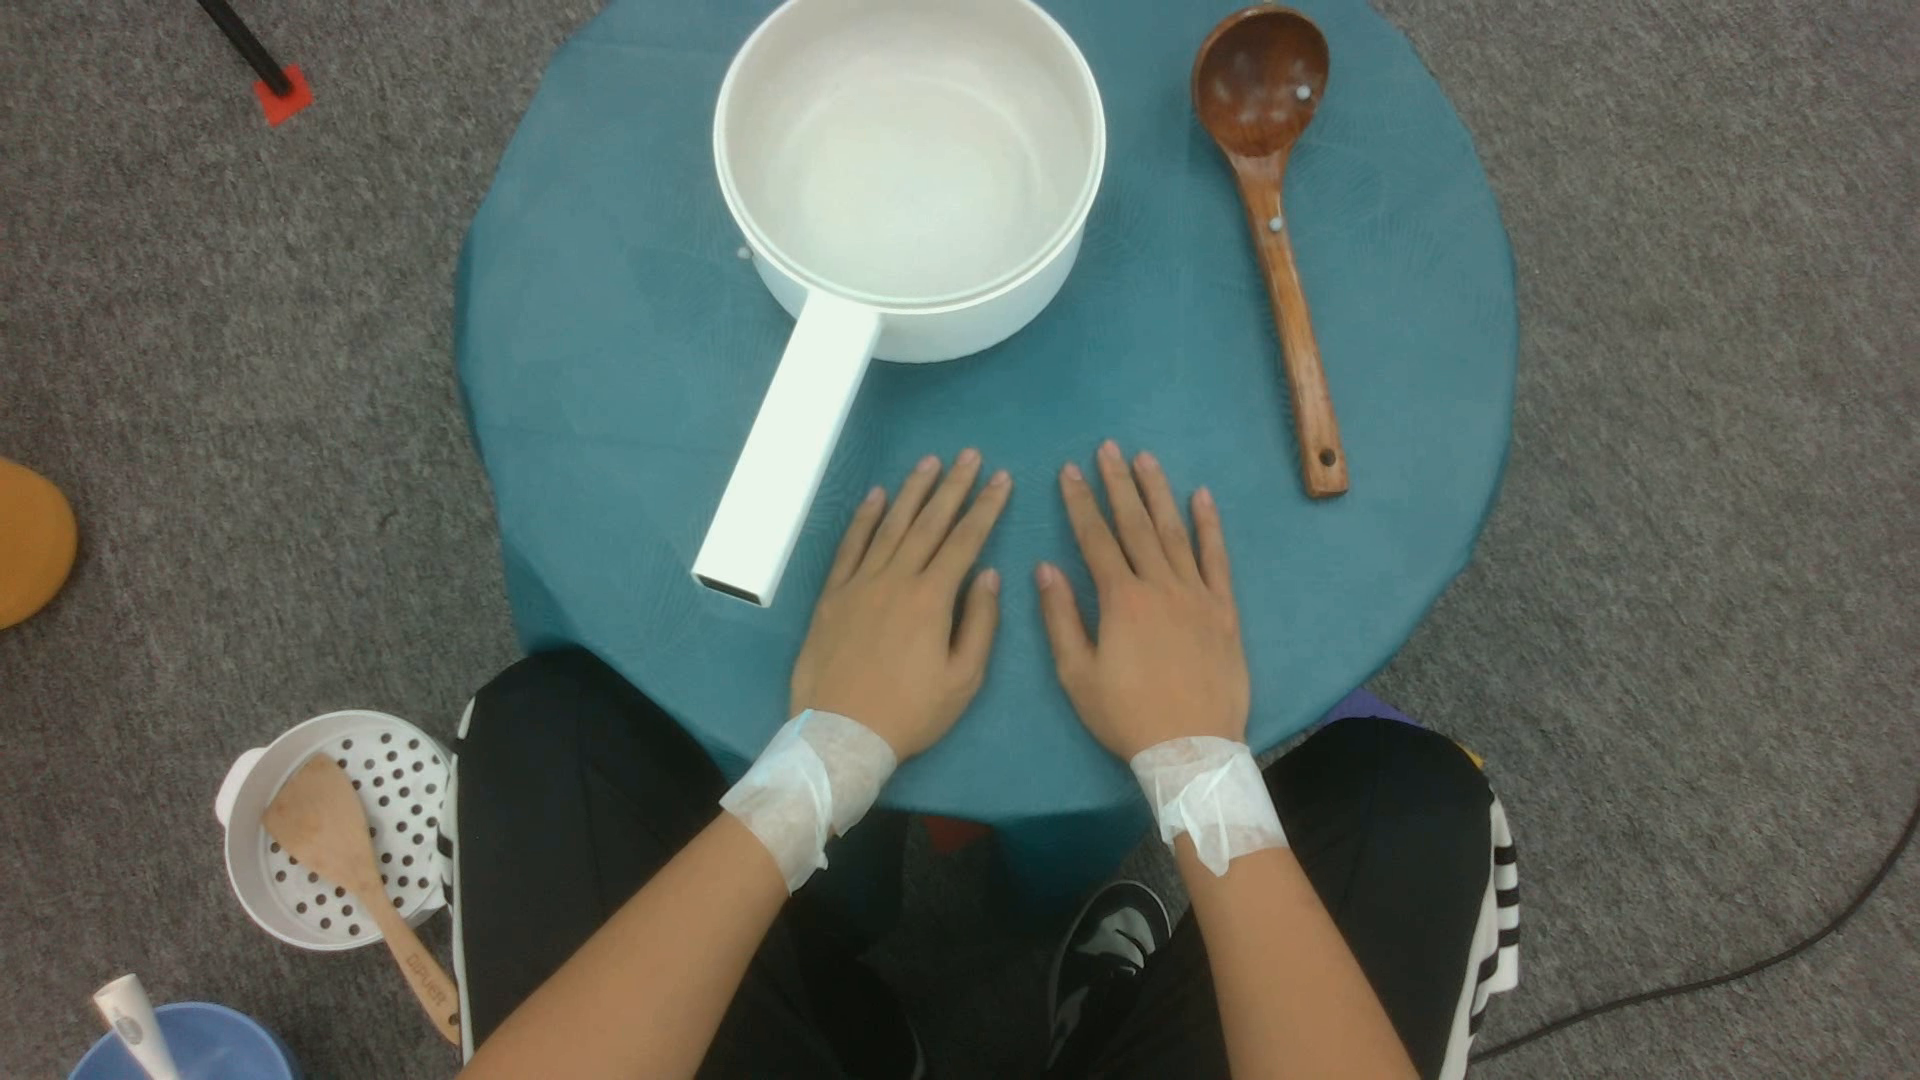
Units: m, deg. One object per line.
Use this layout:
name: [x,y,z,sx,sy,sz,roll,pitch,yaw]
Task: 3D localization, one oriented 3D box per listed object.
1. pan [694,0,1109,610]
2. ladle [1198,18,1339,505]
pan: [-0.048,-0.124,0.747,0.201,0.102,0.355,19,75,5]
ladle: [0.188,-0.160,0.768,0.082,0.076,0.274,-5,73,-2]
